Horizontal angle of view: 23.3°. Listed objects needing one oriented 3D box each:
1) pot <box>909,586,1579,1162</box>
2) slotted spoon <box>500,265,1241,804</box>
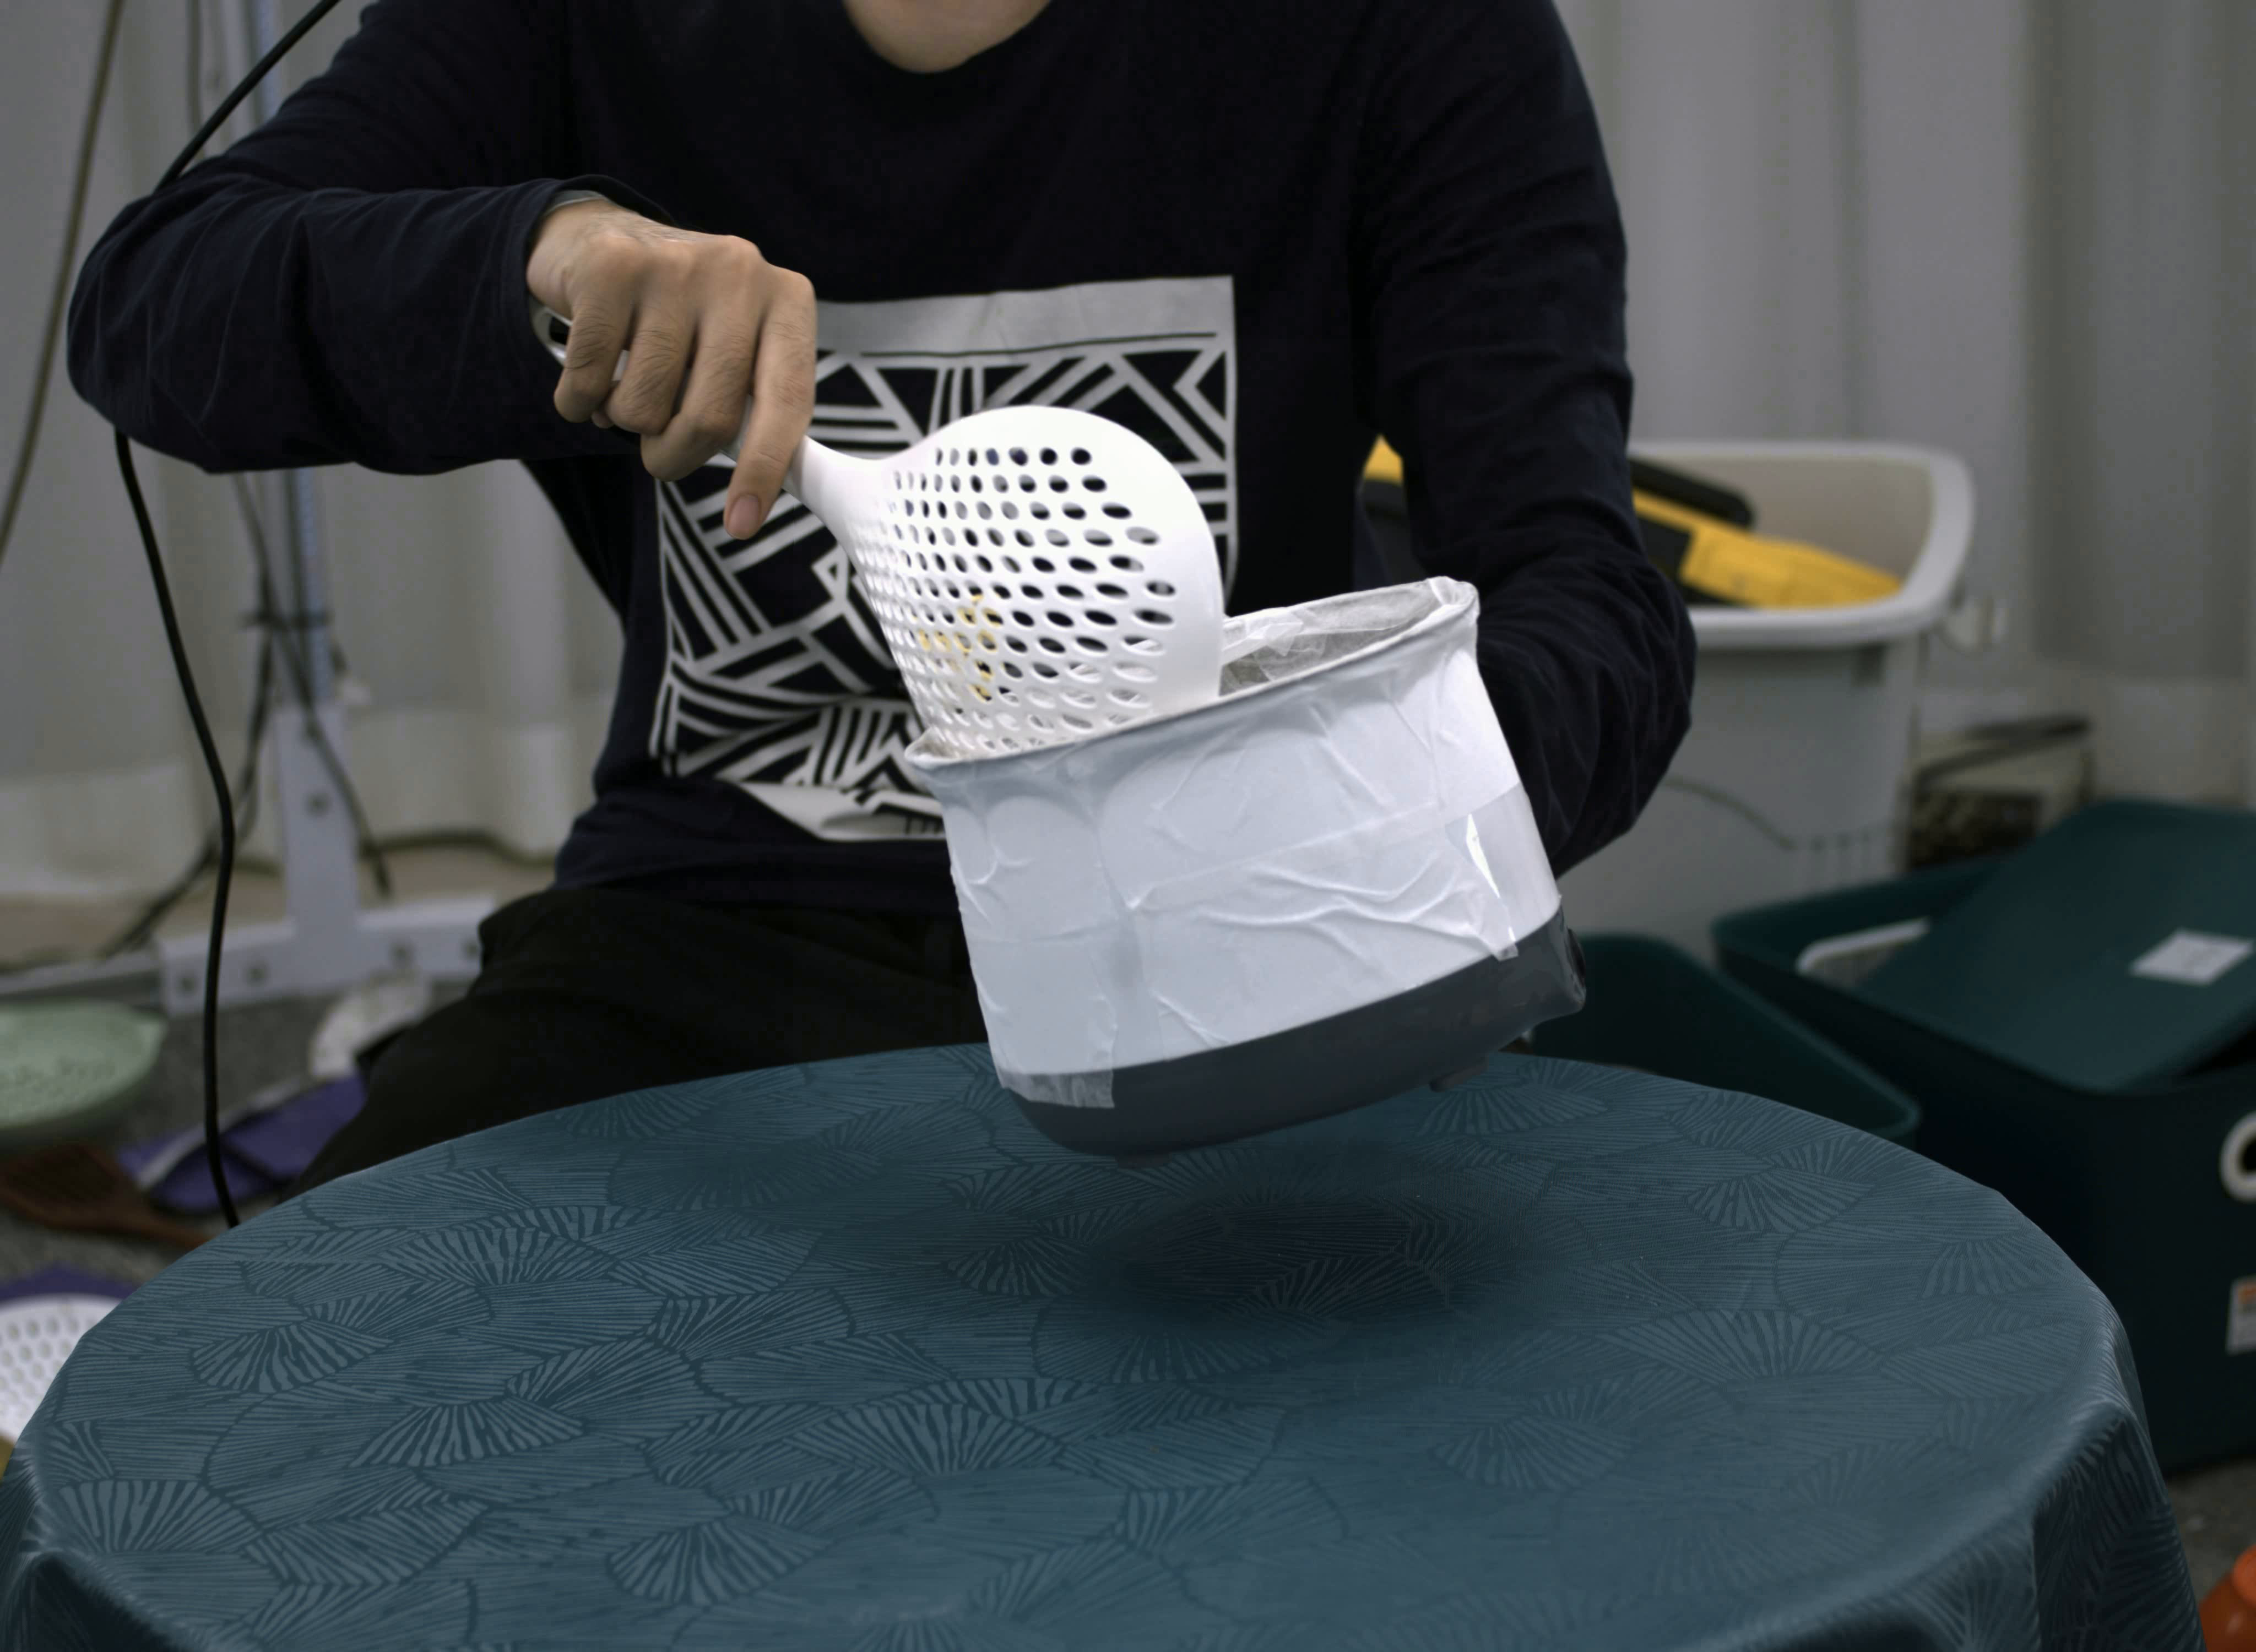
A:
[{"bbox_3d":[0.036,0.009,1.653,0.178,0.136,0.234,-12,9,4],"label":"pot"},{"bbox_3d":[-0.087,-0.100,1.658,0.050,0.136,0.352,-6,27,-35],"label":"slotted spoon"}]
